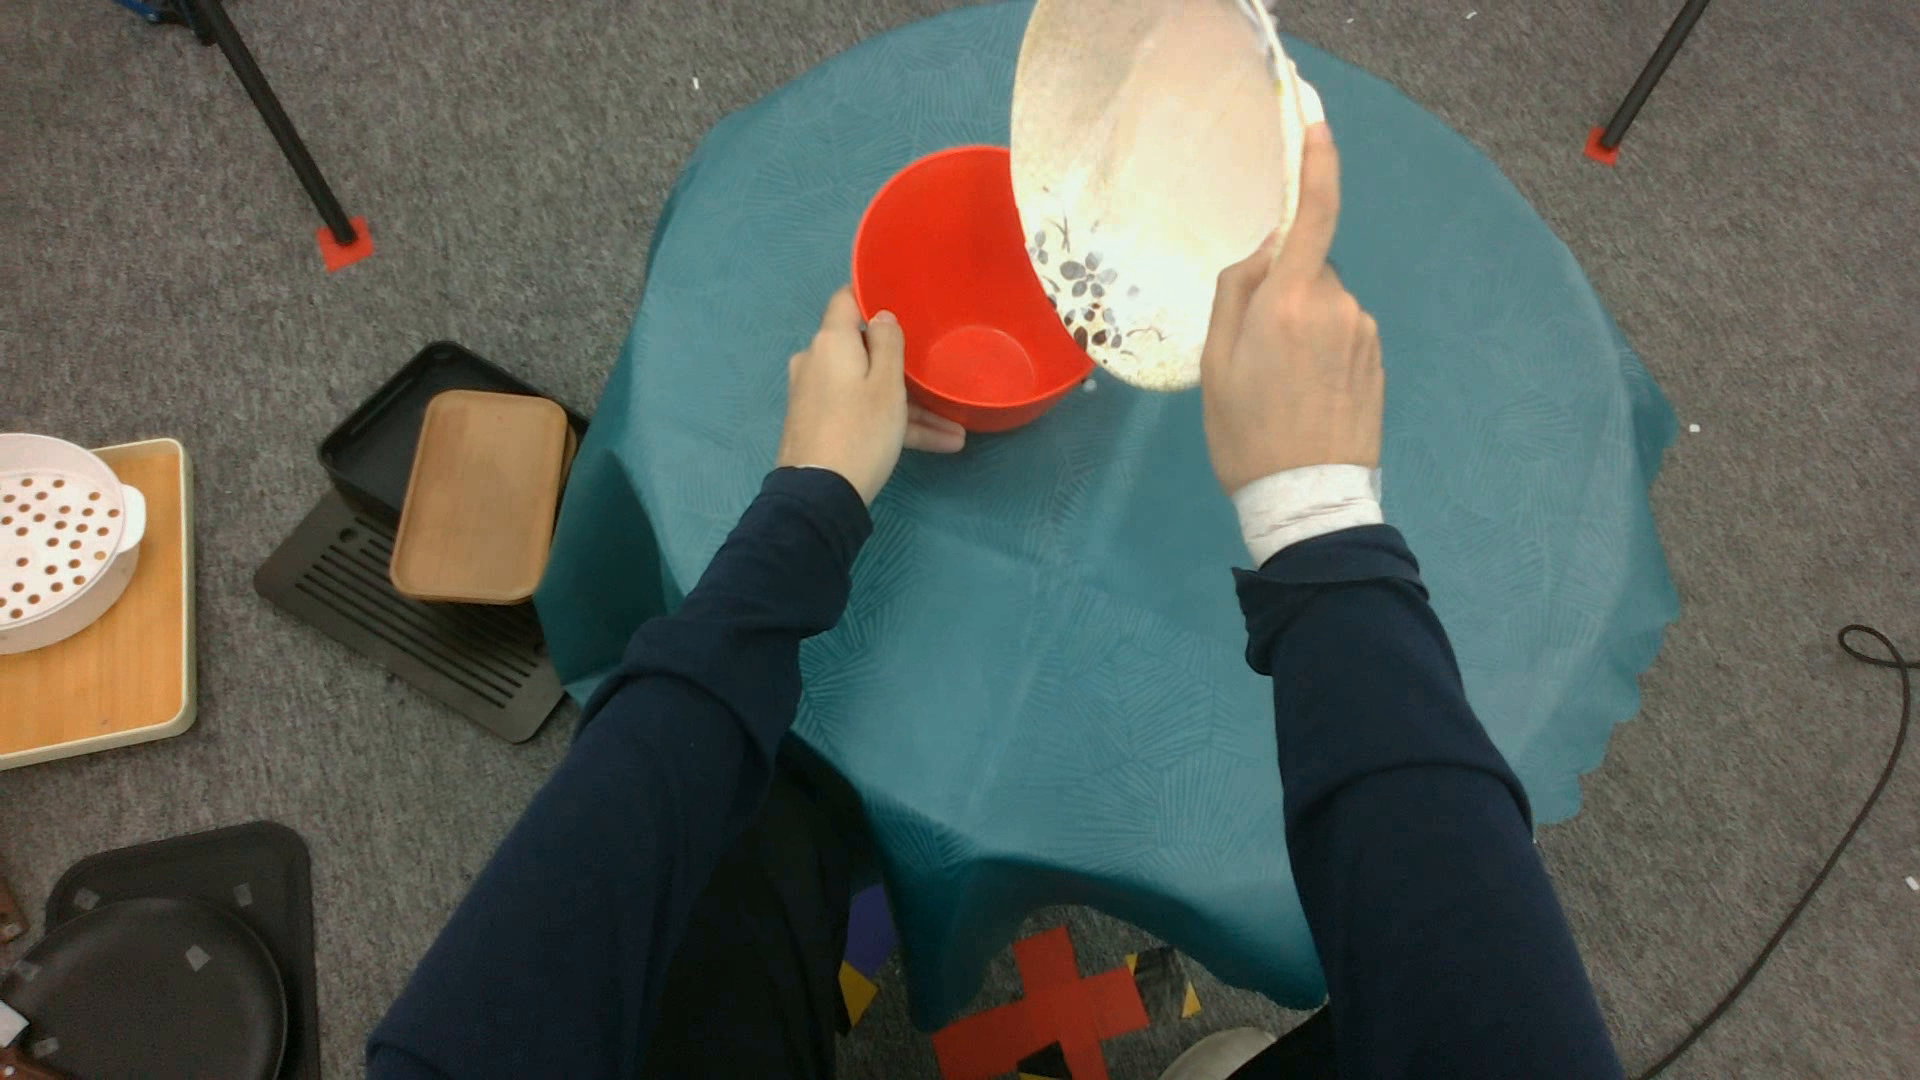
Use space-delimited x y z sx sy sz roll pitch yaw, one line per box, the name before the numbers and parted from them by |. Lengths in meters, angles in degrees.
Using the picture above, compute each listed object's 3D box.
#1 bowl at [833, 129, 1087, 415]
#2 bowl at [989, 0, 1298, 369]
bowl | 0.003 -0.135 0.764 0.148 0.104 0.148 2 67 -5
bowl | 0.097 -0.187 0.635 0.078 0.203 0.204 -19 68 -25
